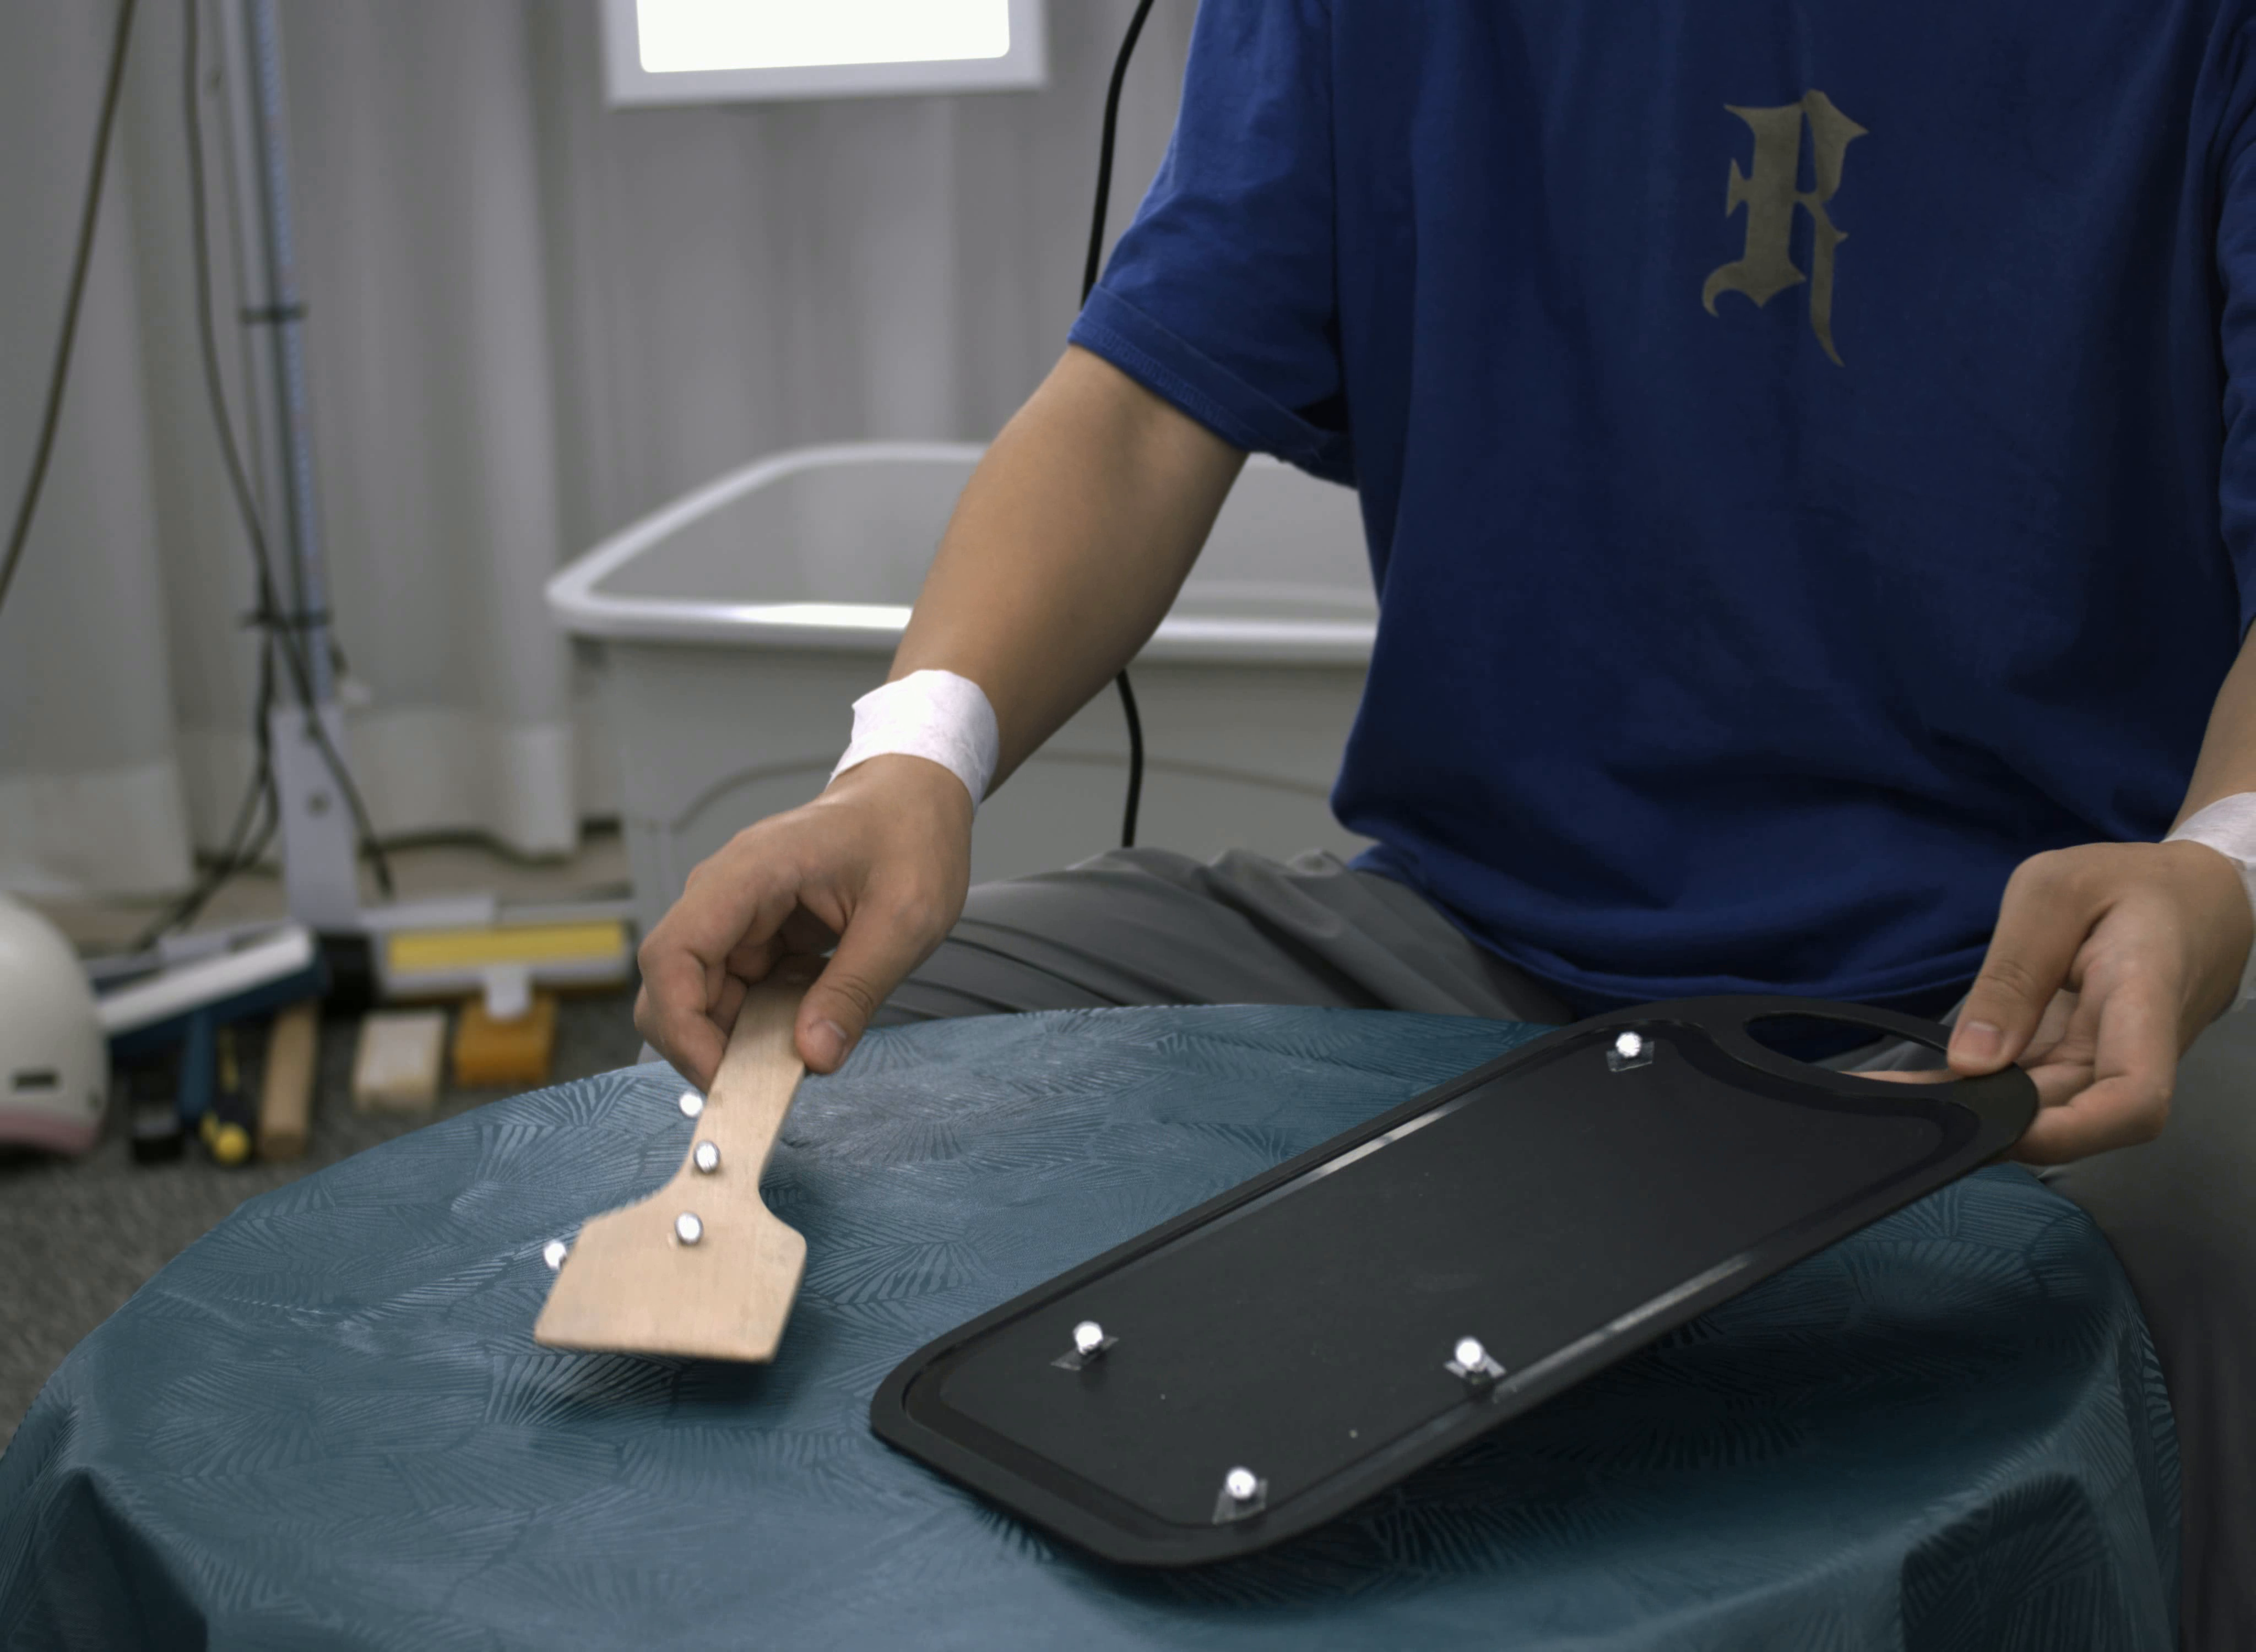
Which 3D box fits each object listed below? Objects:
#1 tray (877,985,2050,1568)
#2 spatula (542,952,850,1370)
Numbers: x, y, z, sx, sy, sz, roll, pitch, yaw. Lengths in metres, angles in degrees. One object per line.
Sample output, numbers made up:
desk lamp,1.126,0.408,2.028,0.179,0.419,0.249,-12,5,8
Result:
tray,0.098,0.114,1.521,0.325,0.010,0.212,-25,20,-23
spatula,-0.120,0.099,1.681,0.072,0.010,0.295,2,22,5
